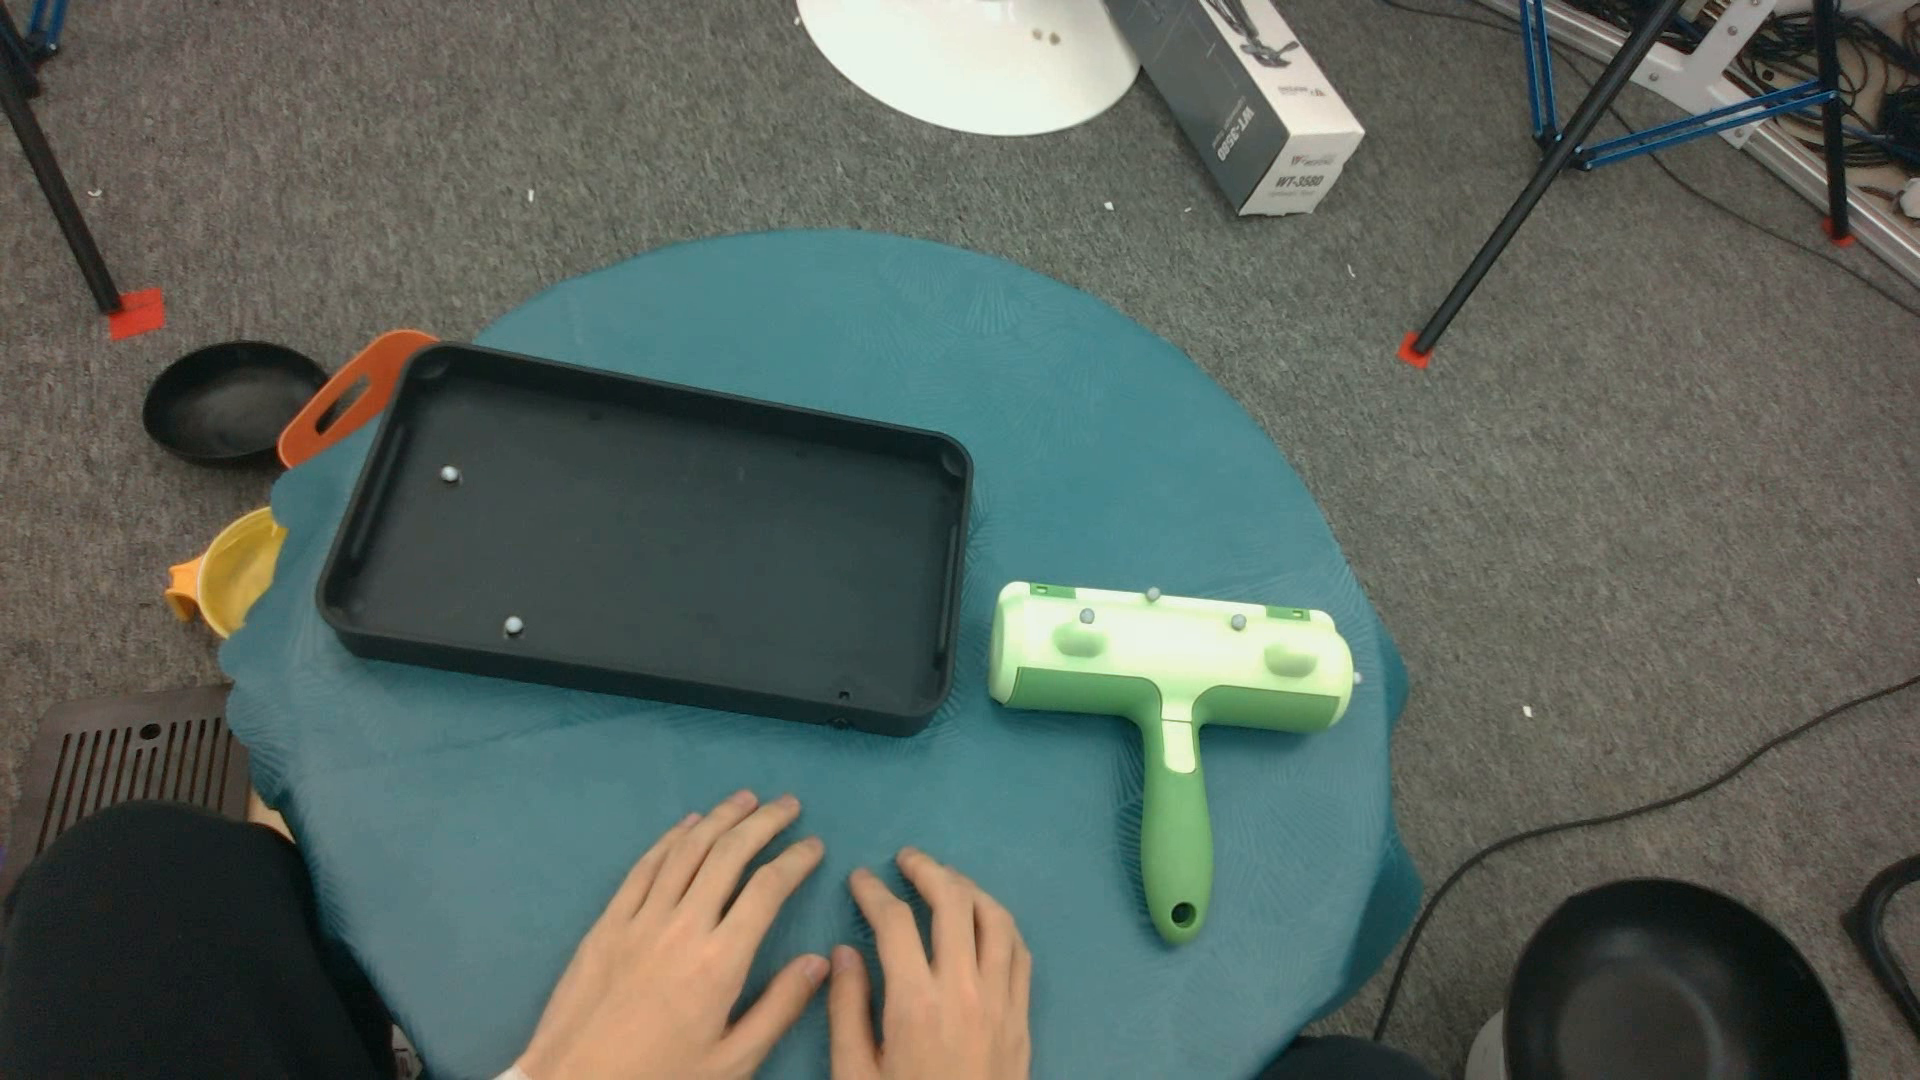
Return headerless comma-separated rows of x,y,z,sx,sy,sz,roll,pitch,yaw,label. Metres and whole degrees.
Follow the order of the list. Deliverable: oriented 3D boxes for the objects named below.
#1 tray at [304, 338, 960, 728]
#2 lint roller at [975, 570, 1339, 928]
-0.163,-0.004,0.745,0.318,0.037,0.185,9,57,-7,tray
0.110,0.101,0.717,0.199,0.082,0.184,5,55,-10,lint roller
